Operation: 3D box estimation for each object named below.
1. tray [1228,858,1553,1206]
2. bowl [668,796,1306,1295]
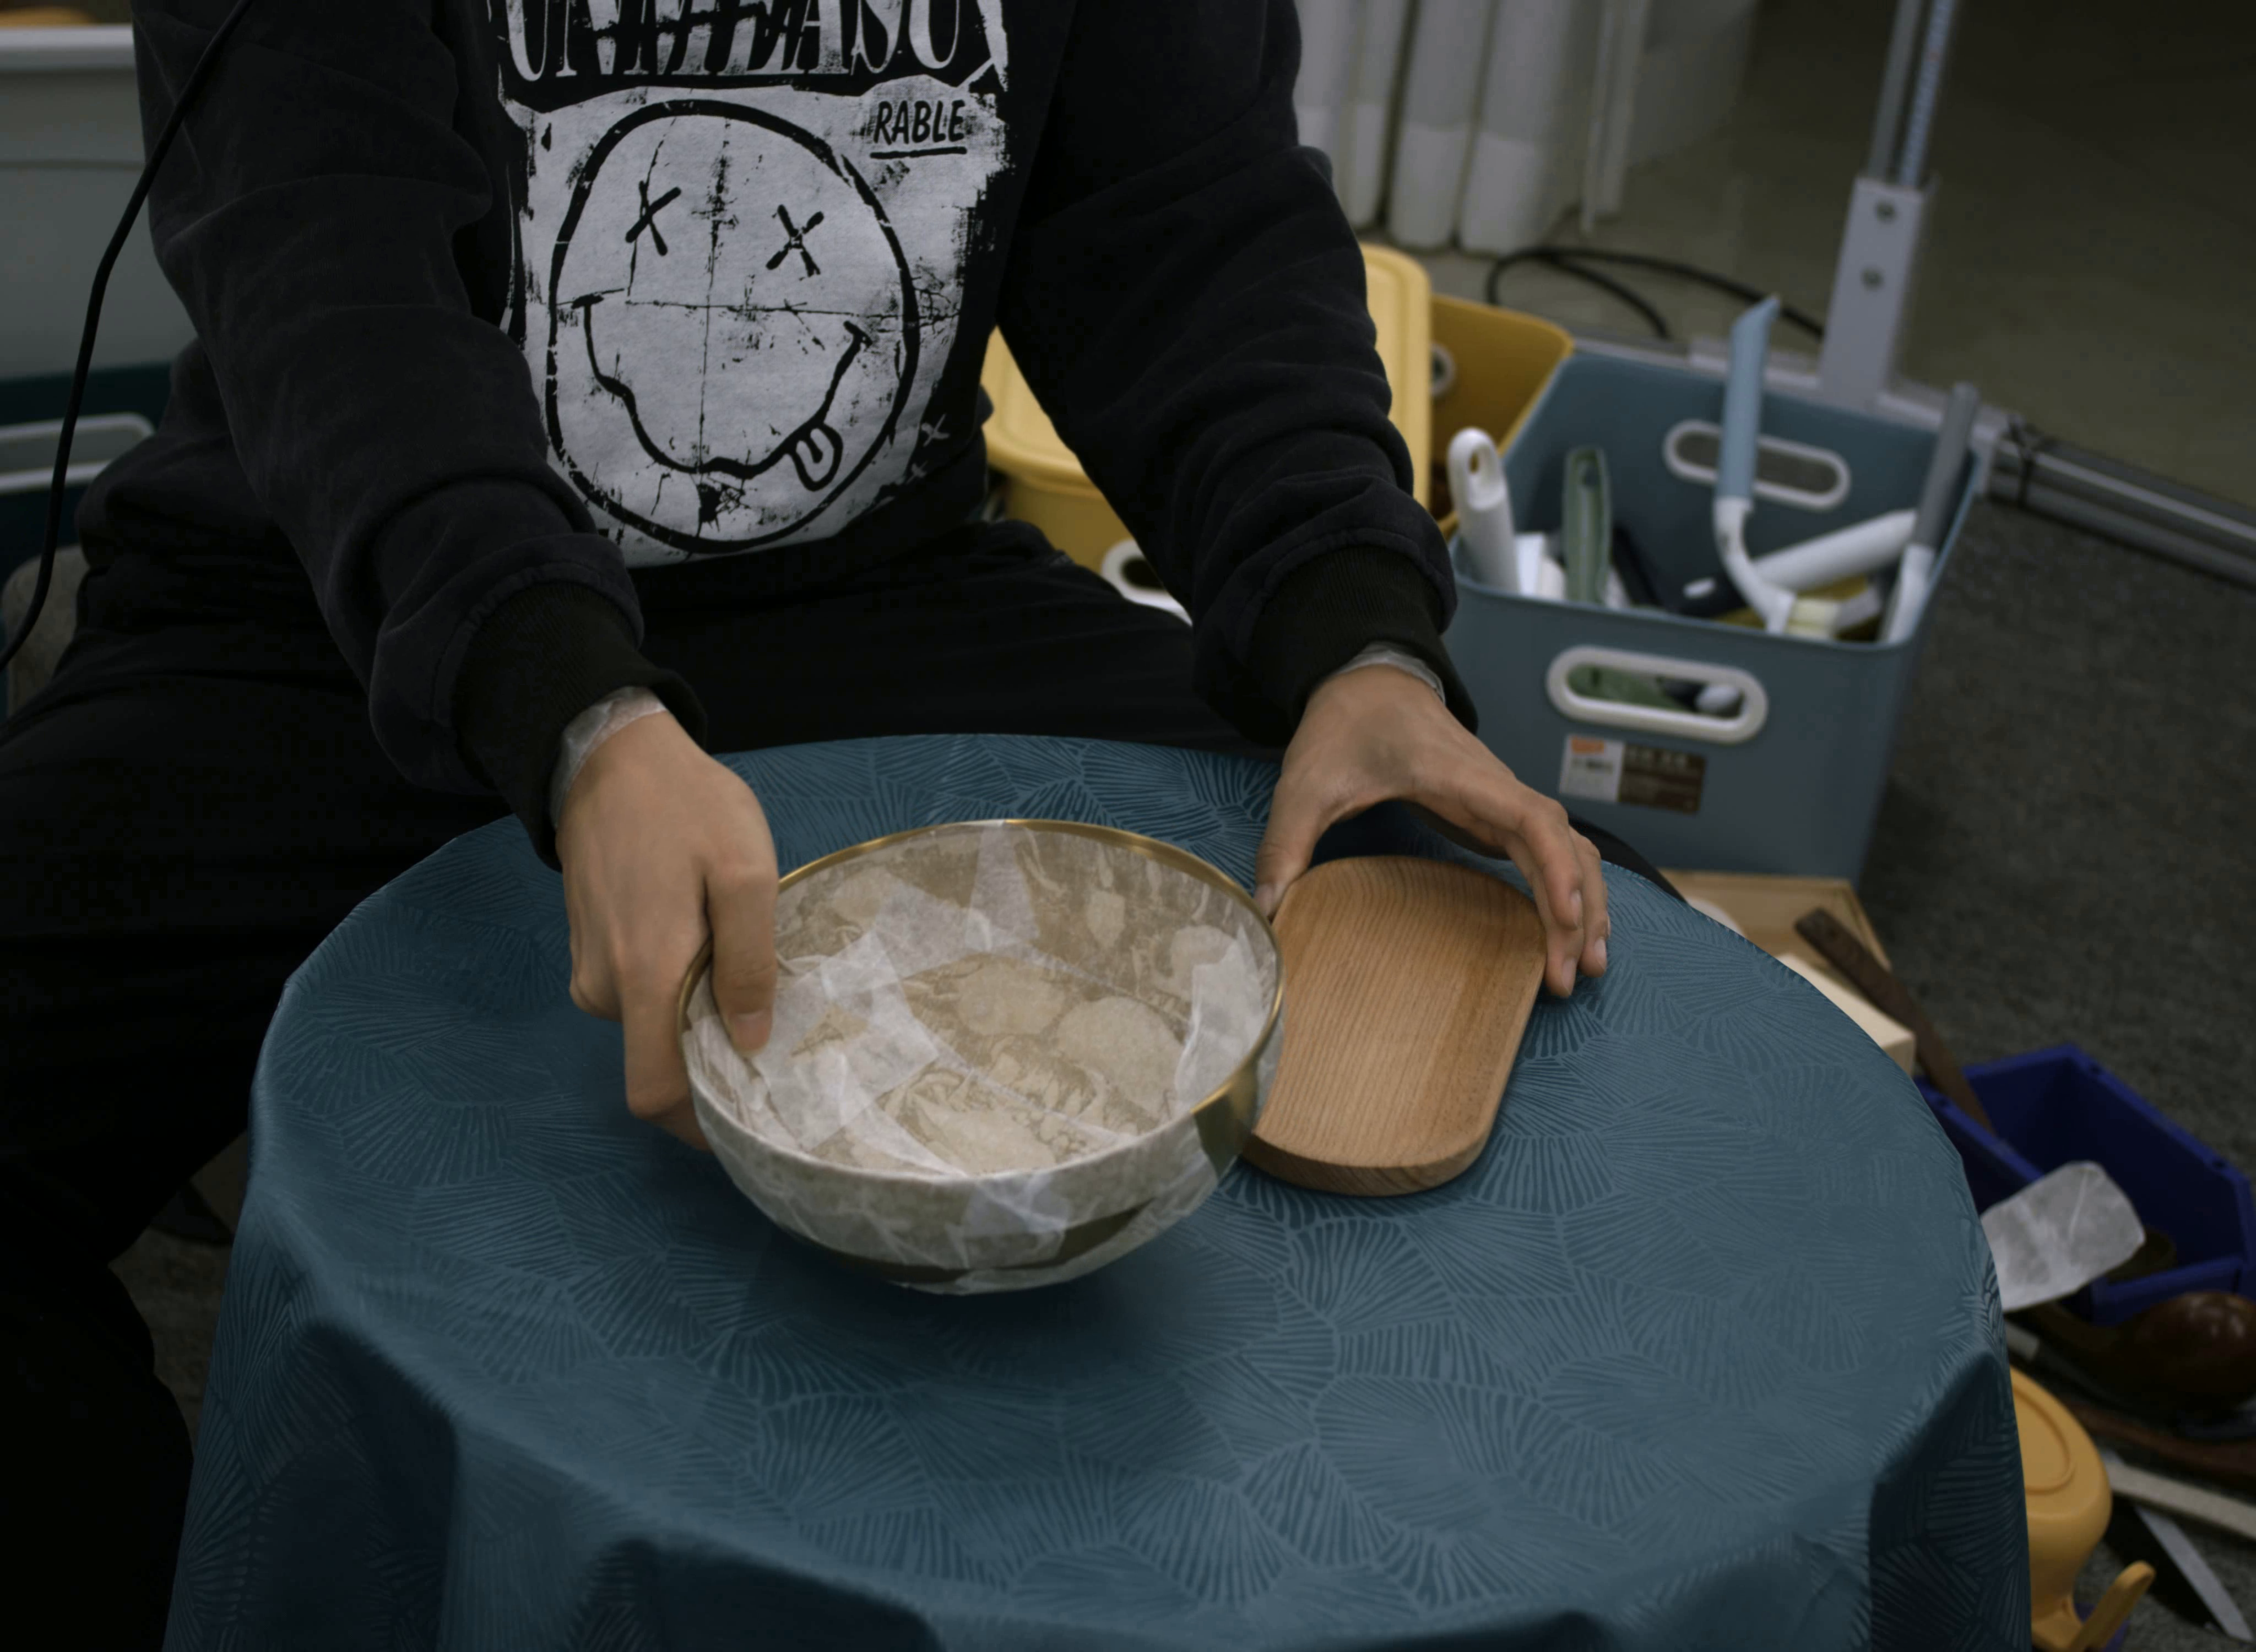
[{"bbox_3d":[0.092,0.072,1.904,0.101,0.020,0.232,8,30,9],"label":"tray"},{"bbox_3d":[-0.042,0.086,1.748,0.214,0.094,0.216,-5,34,3],"label":"bowl"}]
